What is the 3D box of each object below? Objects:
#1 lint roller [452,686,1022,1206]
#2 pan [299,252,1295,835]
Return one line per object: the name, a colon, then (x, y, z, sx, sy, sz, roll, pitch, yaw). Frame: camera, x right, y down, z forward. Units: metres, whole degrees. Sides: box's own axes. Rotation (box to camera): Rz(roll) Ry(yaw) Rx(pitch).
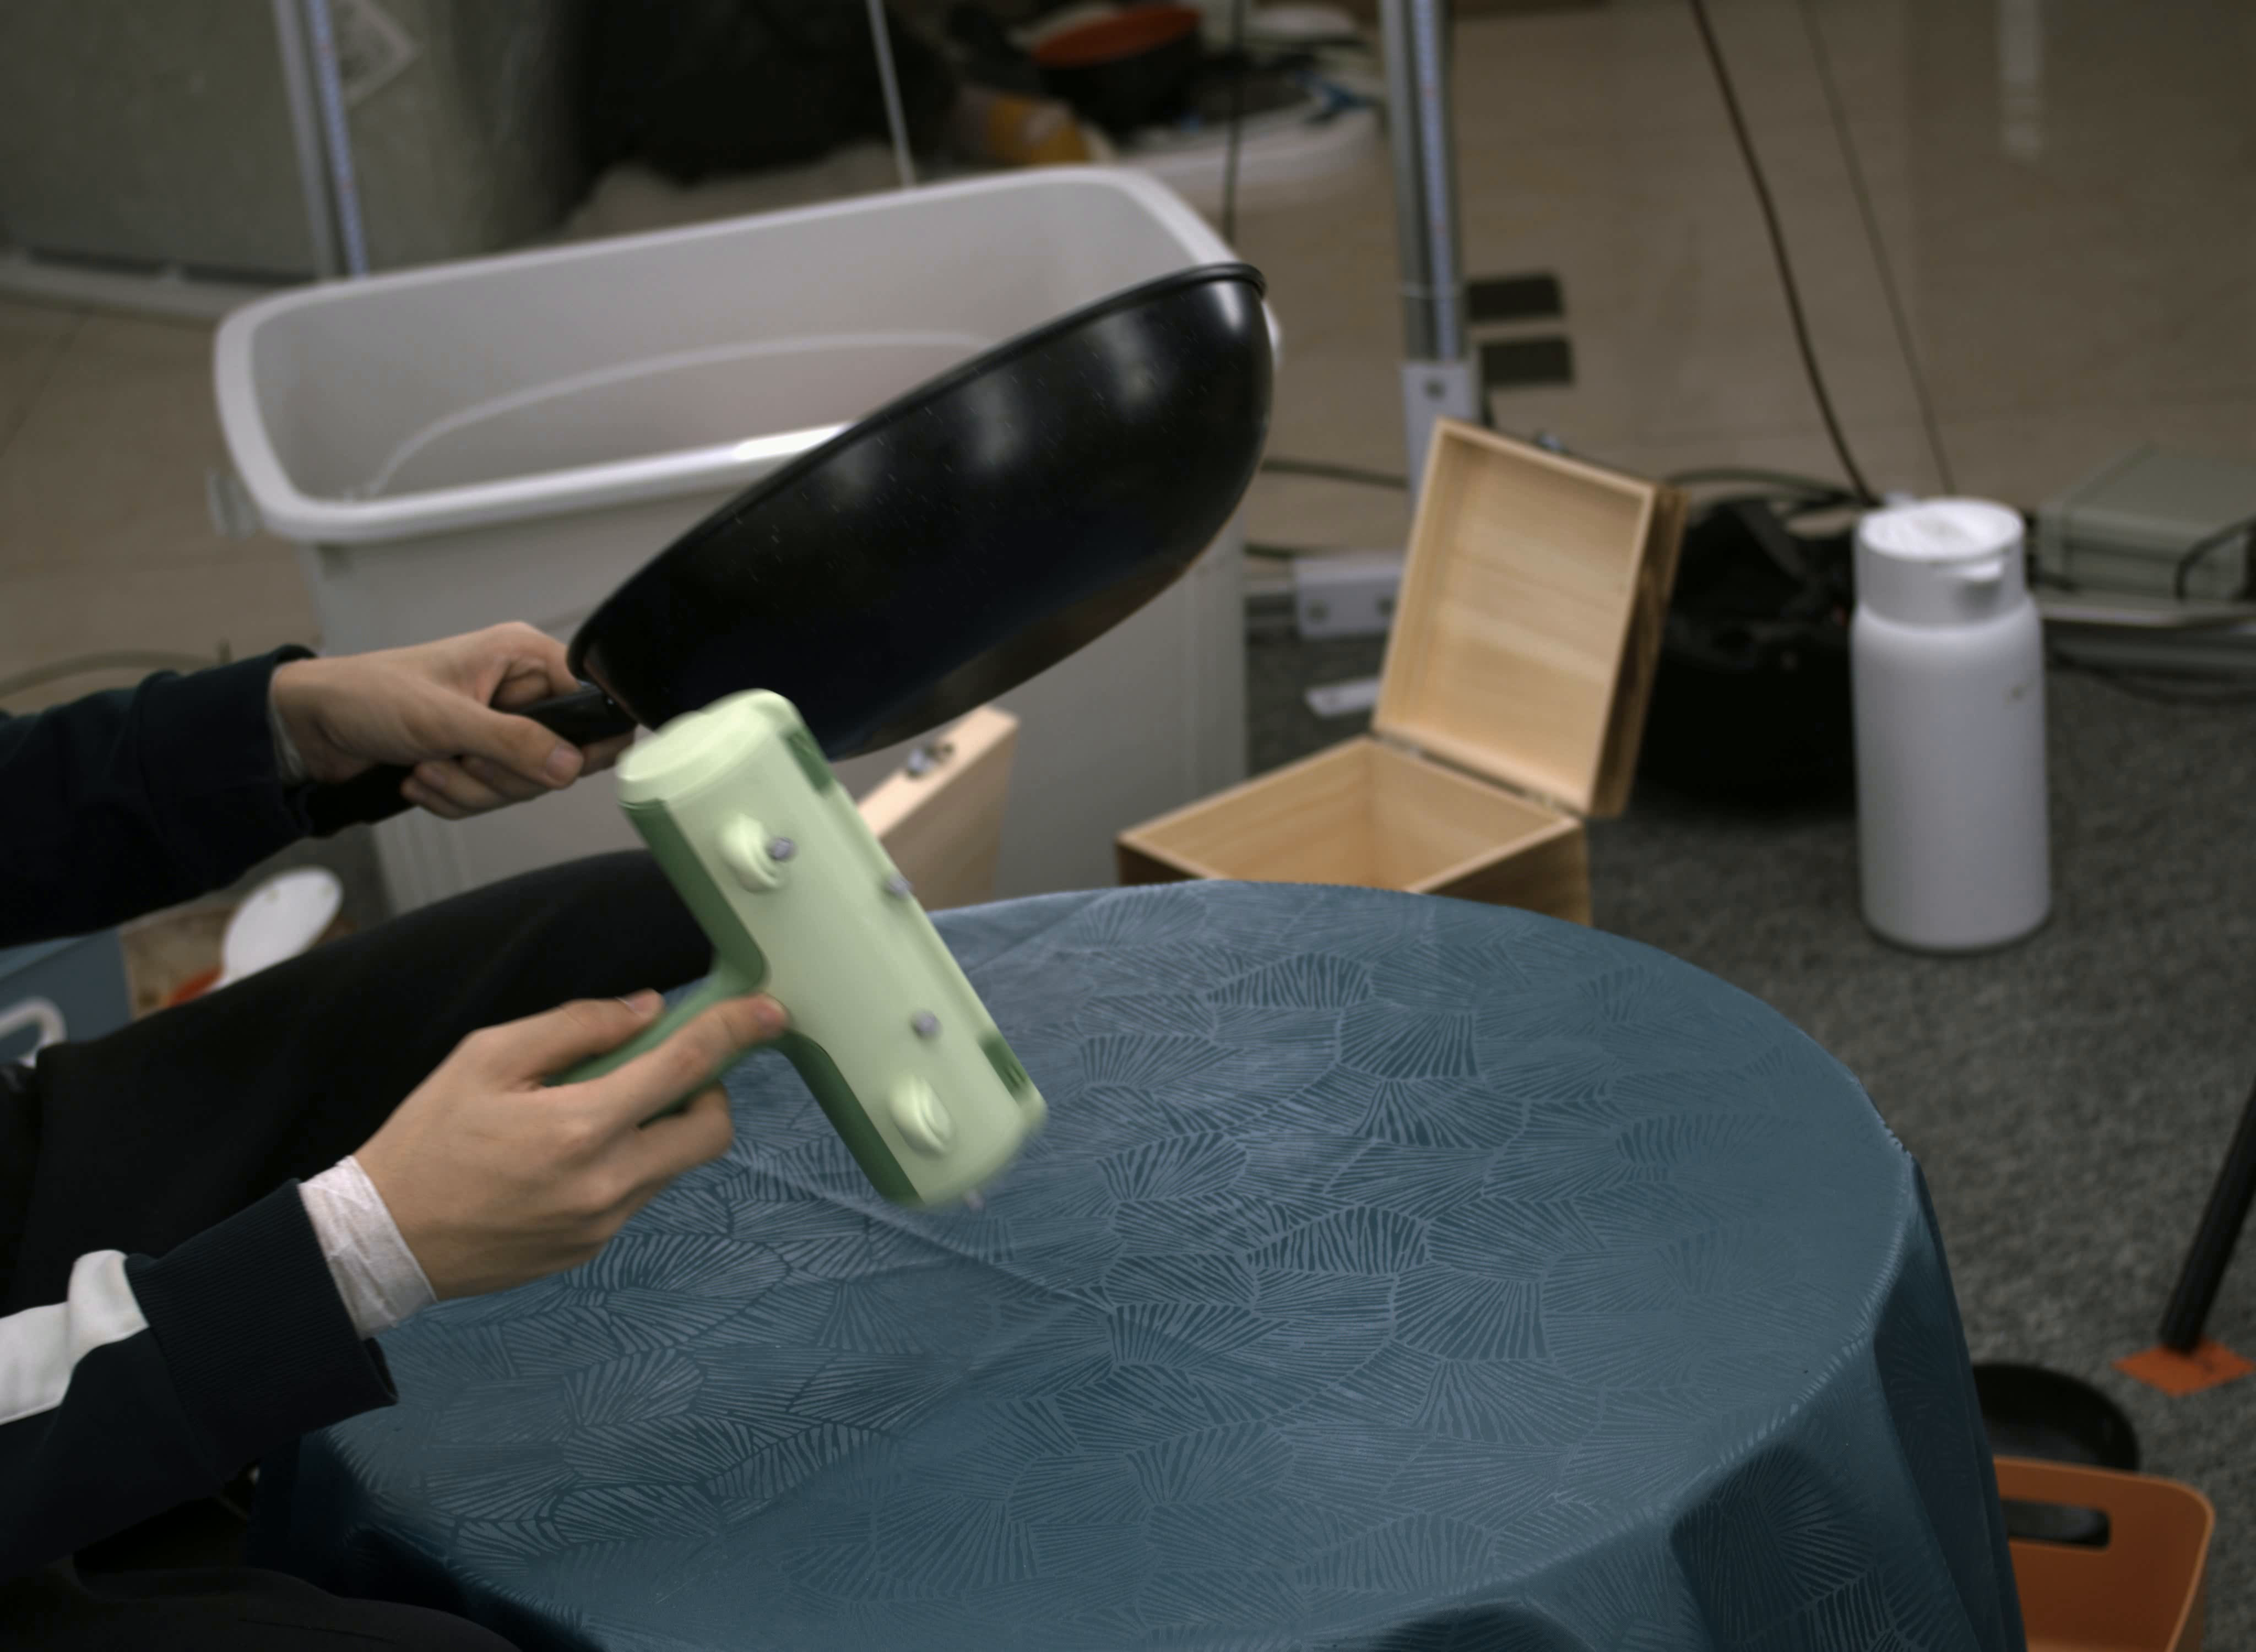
lint roller: (-0.151, 0.078, 1.969, 0.182, 0.201, 0.081, -39, 27, -13)
pan: (-0.127, -0.074, 2.211, 0.480, 0.111, 0.309, -32, -7, 25)
